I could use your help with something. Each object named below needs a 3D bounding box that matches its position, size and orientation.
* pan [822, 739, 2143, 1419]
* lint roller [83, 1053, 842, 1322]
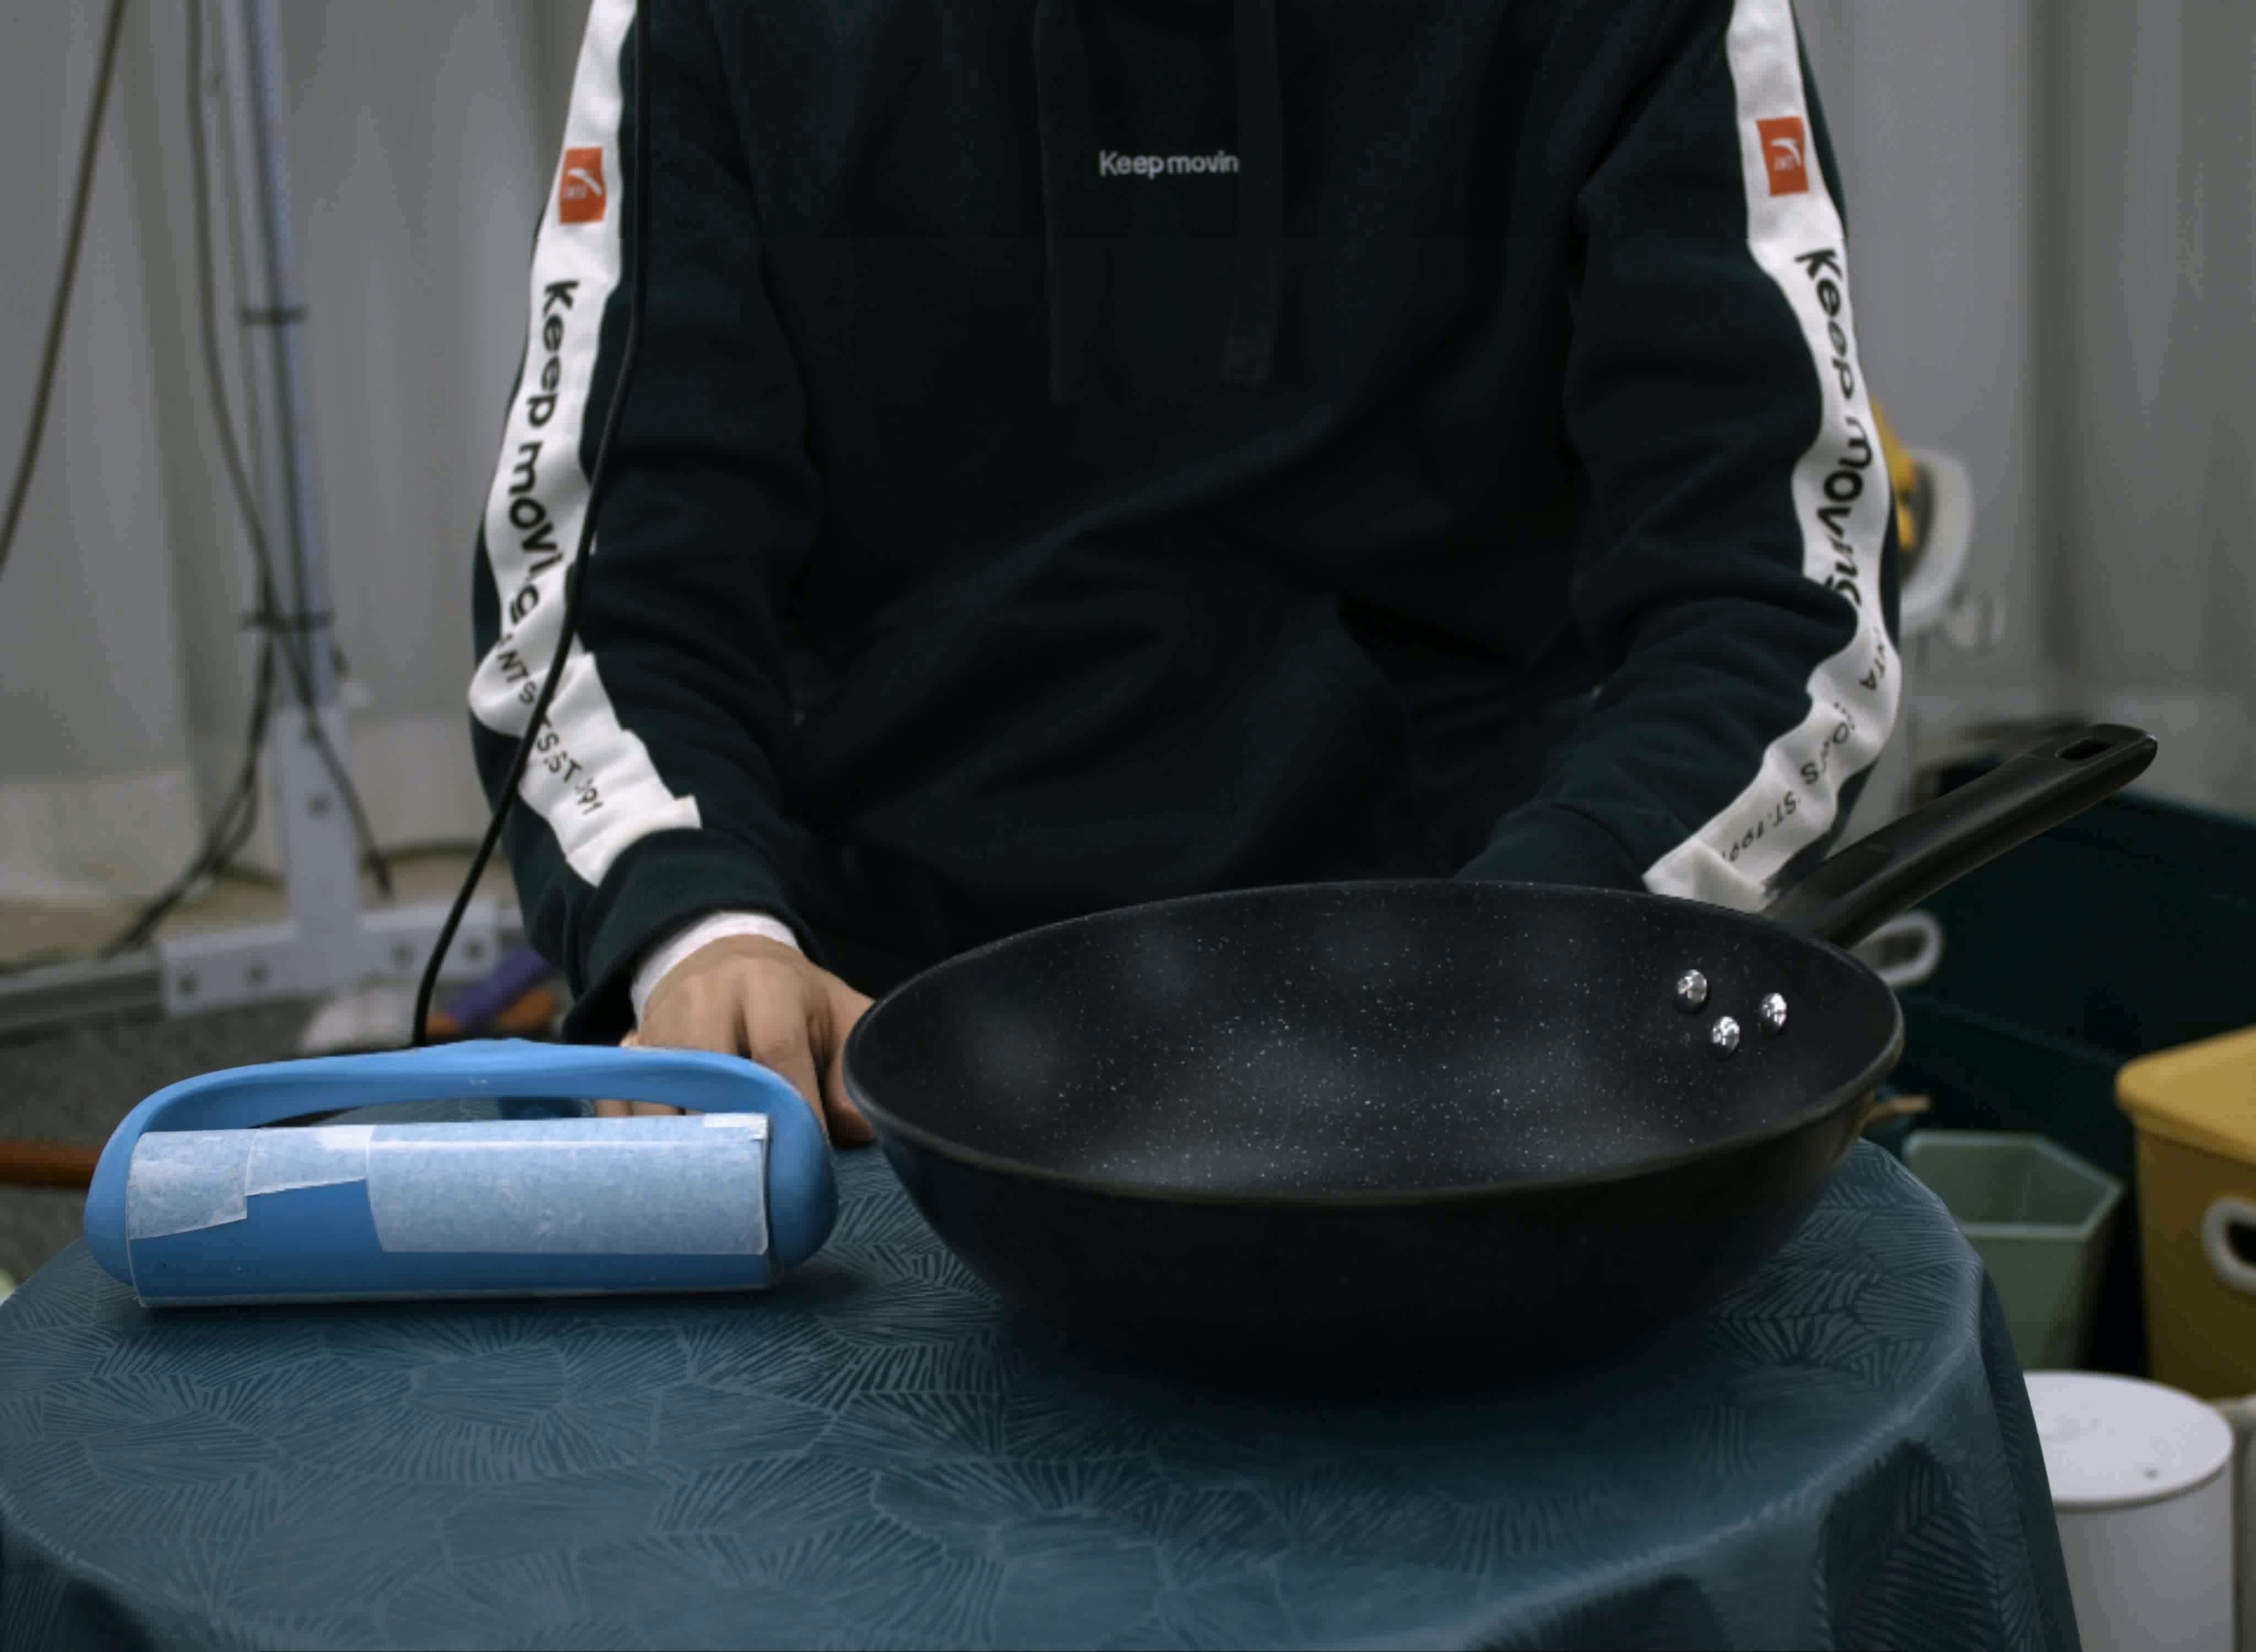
[{"bbox_3d":[0.132,0.073,1.638,0.475,0.111,0.312,-14,20,-35],"label":"pan"},{"bbox_3d":[-0.200,0.101,1.700,0.228,0.067,0.181,-5,15,1],"label":"lint roller"}]
